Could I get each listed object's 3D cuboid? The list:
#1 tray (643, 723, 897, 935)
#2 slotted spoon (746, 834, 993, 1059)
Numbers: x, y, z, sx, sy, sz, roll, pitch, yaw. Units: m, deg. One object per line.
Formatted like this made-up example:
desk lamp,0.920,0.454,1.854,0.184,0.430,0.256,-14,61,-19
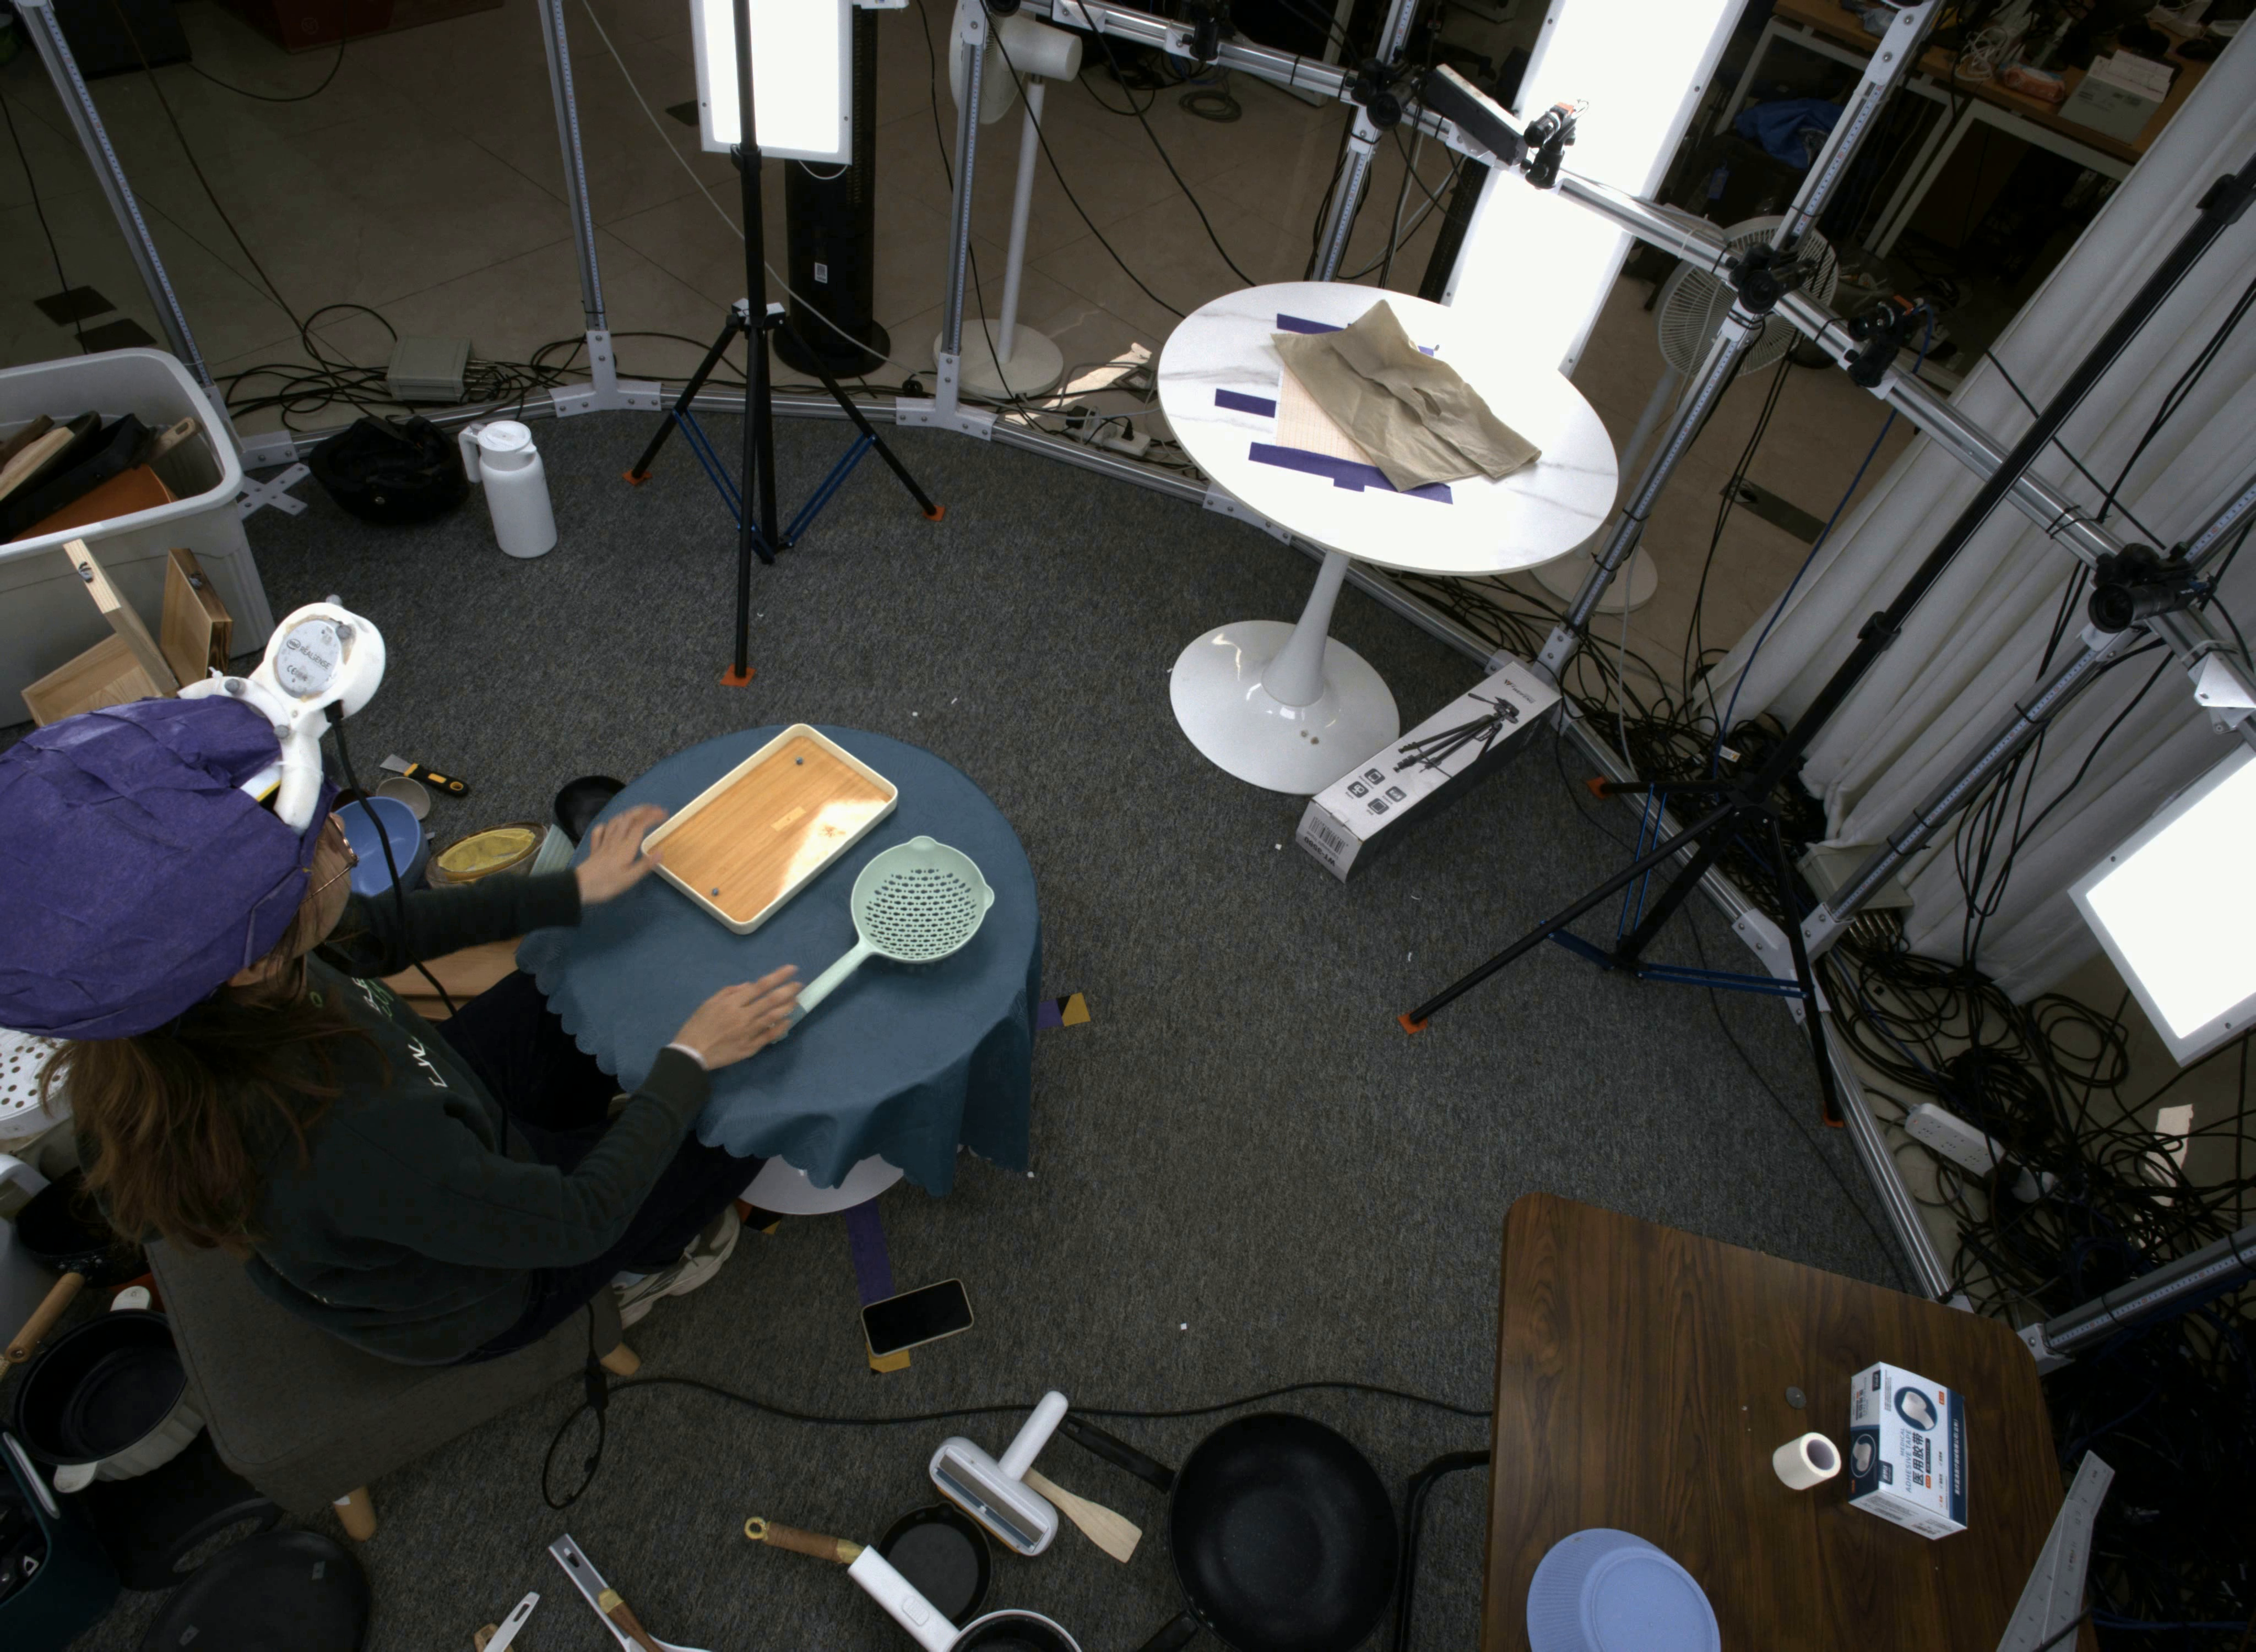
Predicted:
tray,-0.467,-0.004,1.704,0.188,0.028,0.300,35,53,12
slotted spoon,-0.327,0.154,1.598,0.165,0.077,0.359,39,54,17
